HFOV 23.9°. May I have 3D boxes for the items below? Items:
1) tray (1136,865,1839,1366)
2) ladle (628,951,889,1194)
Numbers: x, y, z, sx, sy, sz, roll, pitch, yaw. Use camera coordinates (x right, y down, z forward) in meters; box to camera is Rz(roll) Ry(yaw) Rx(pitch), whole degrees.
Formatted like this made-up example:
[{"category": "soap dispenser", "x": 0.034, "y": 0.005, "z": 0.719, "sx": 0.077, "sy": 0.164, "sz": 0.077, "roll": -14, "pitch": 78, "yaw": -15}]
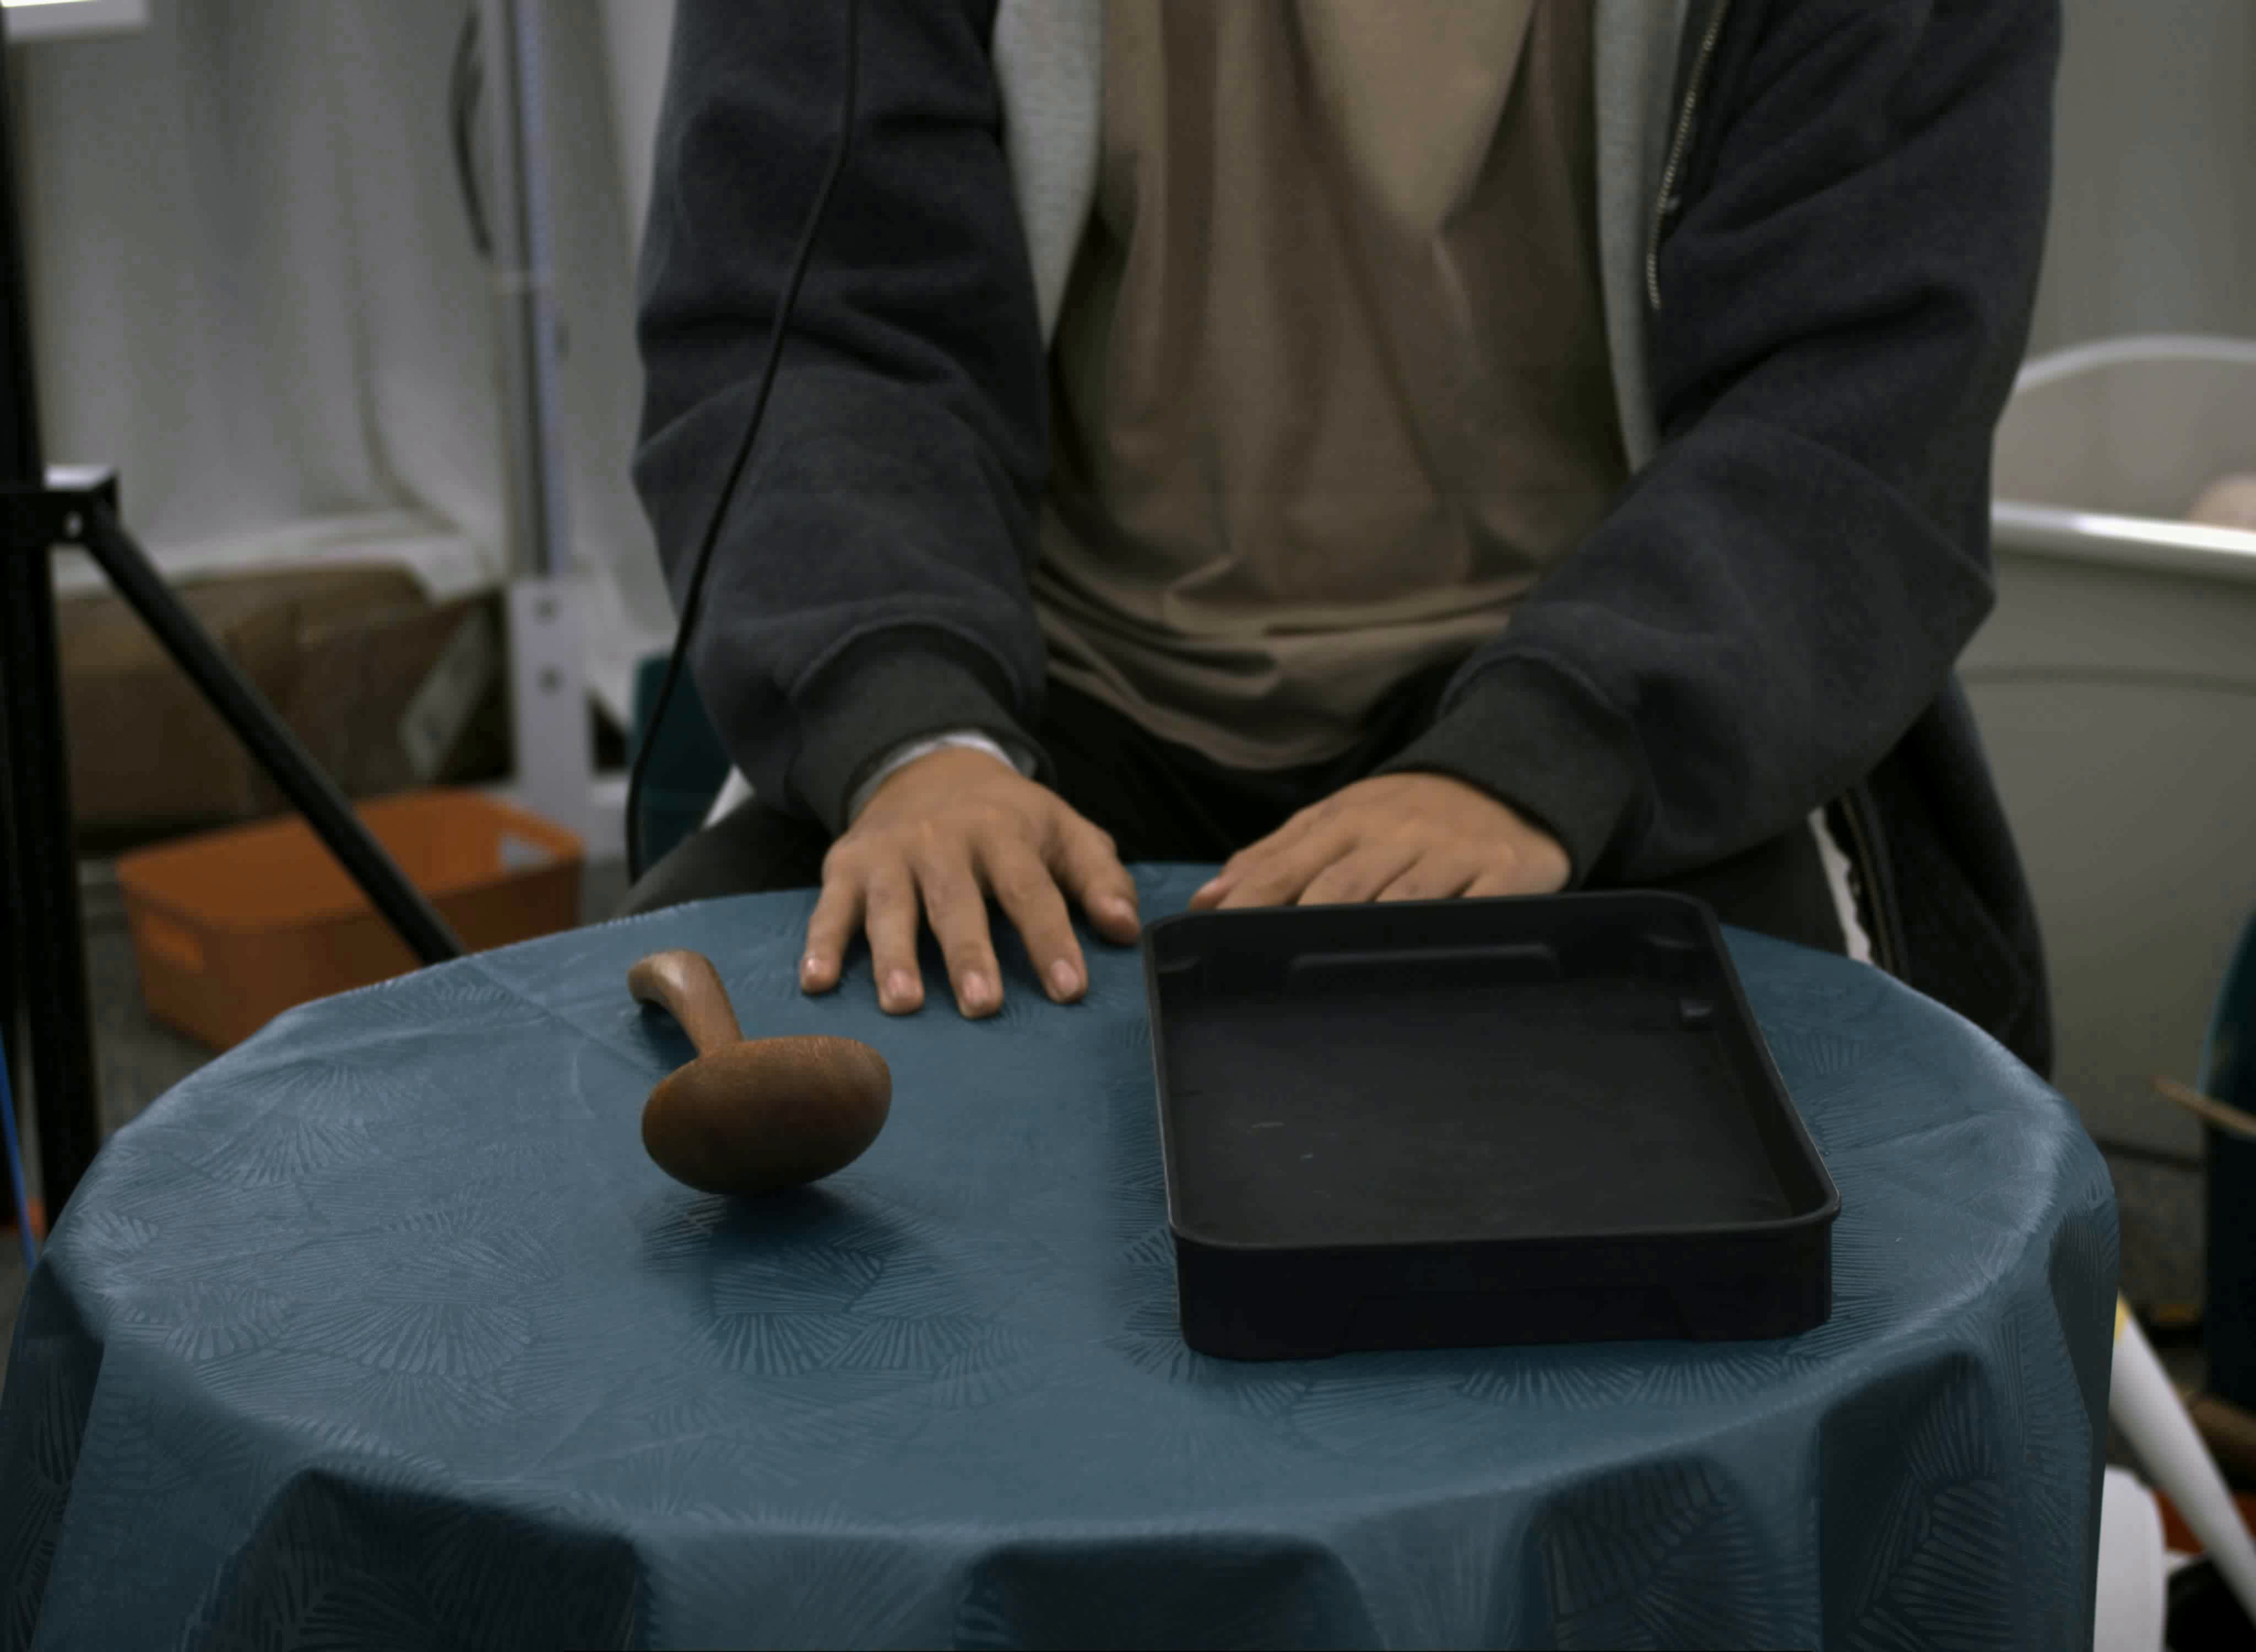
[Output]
[{"category": "tray", "x": 0.098, "y": 0.080, "z": 1.567, "sx": 0.183, "sy": 0.037, "sz": 0.319, "roll": -3, "pitch": 17, "yaw": 0}, {"category": "ladle", "x": -0.127, "y": 0.058, "z": 1.639, "sx": 0.075, "sy": 0.065, "sz": 0.263, "roll": -6, "pitch": 16, "yaw": -11}]
